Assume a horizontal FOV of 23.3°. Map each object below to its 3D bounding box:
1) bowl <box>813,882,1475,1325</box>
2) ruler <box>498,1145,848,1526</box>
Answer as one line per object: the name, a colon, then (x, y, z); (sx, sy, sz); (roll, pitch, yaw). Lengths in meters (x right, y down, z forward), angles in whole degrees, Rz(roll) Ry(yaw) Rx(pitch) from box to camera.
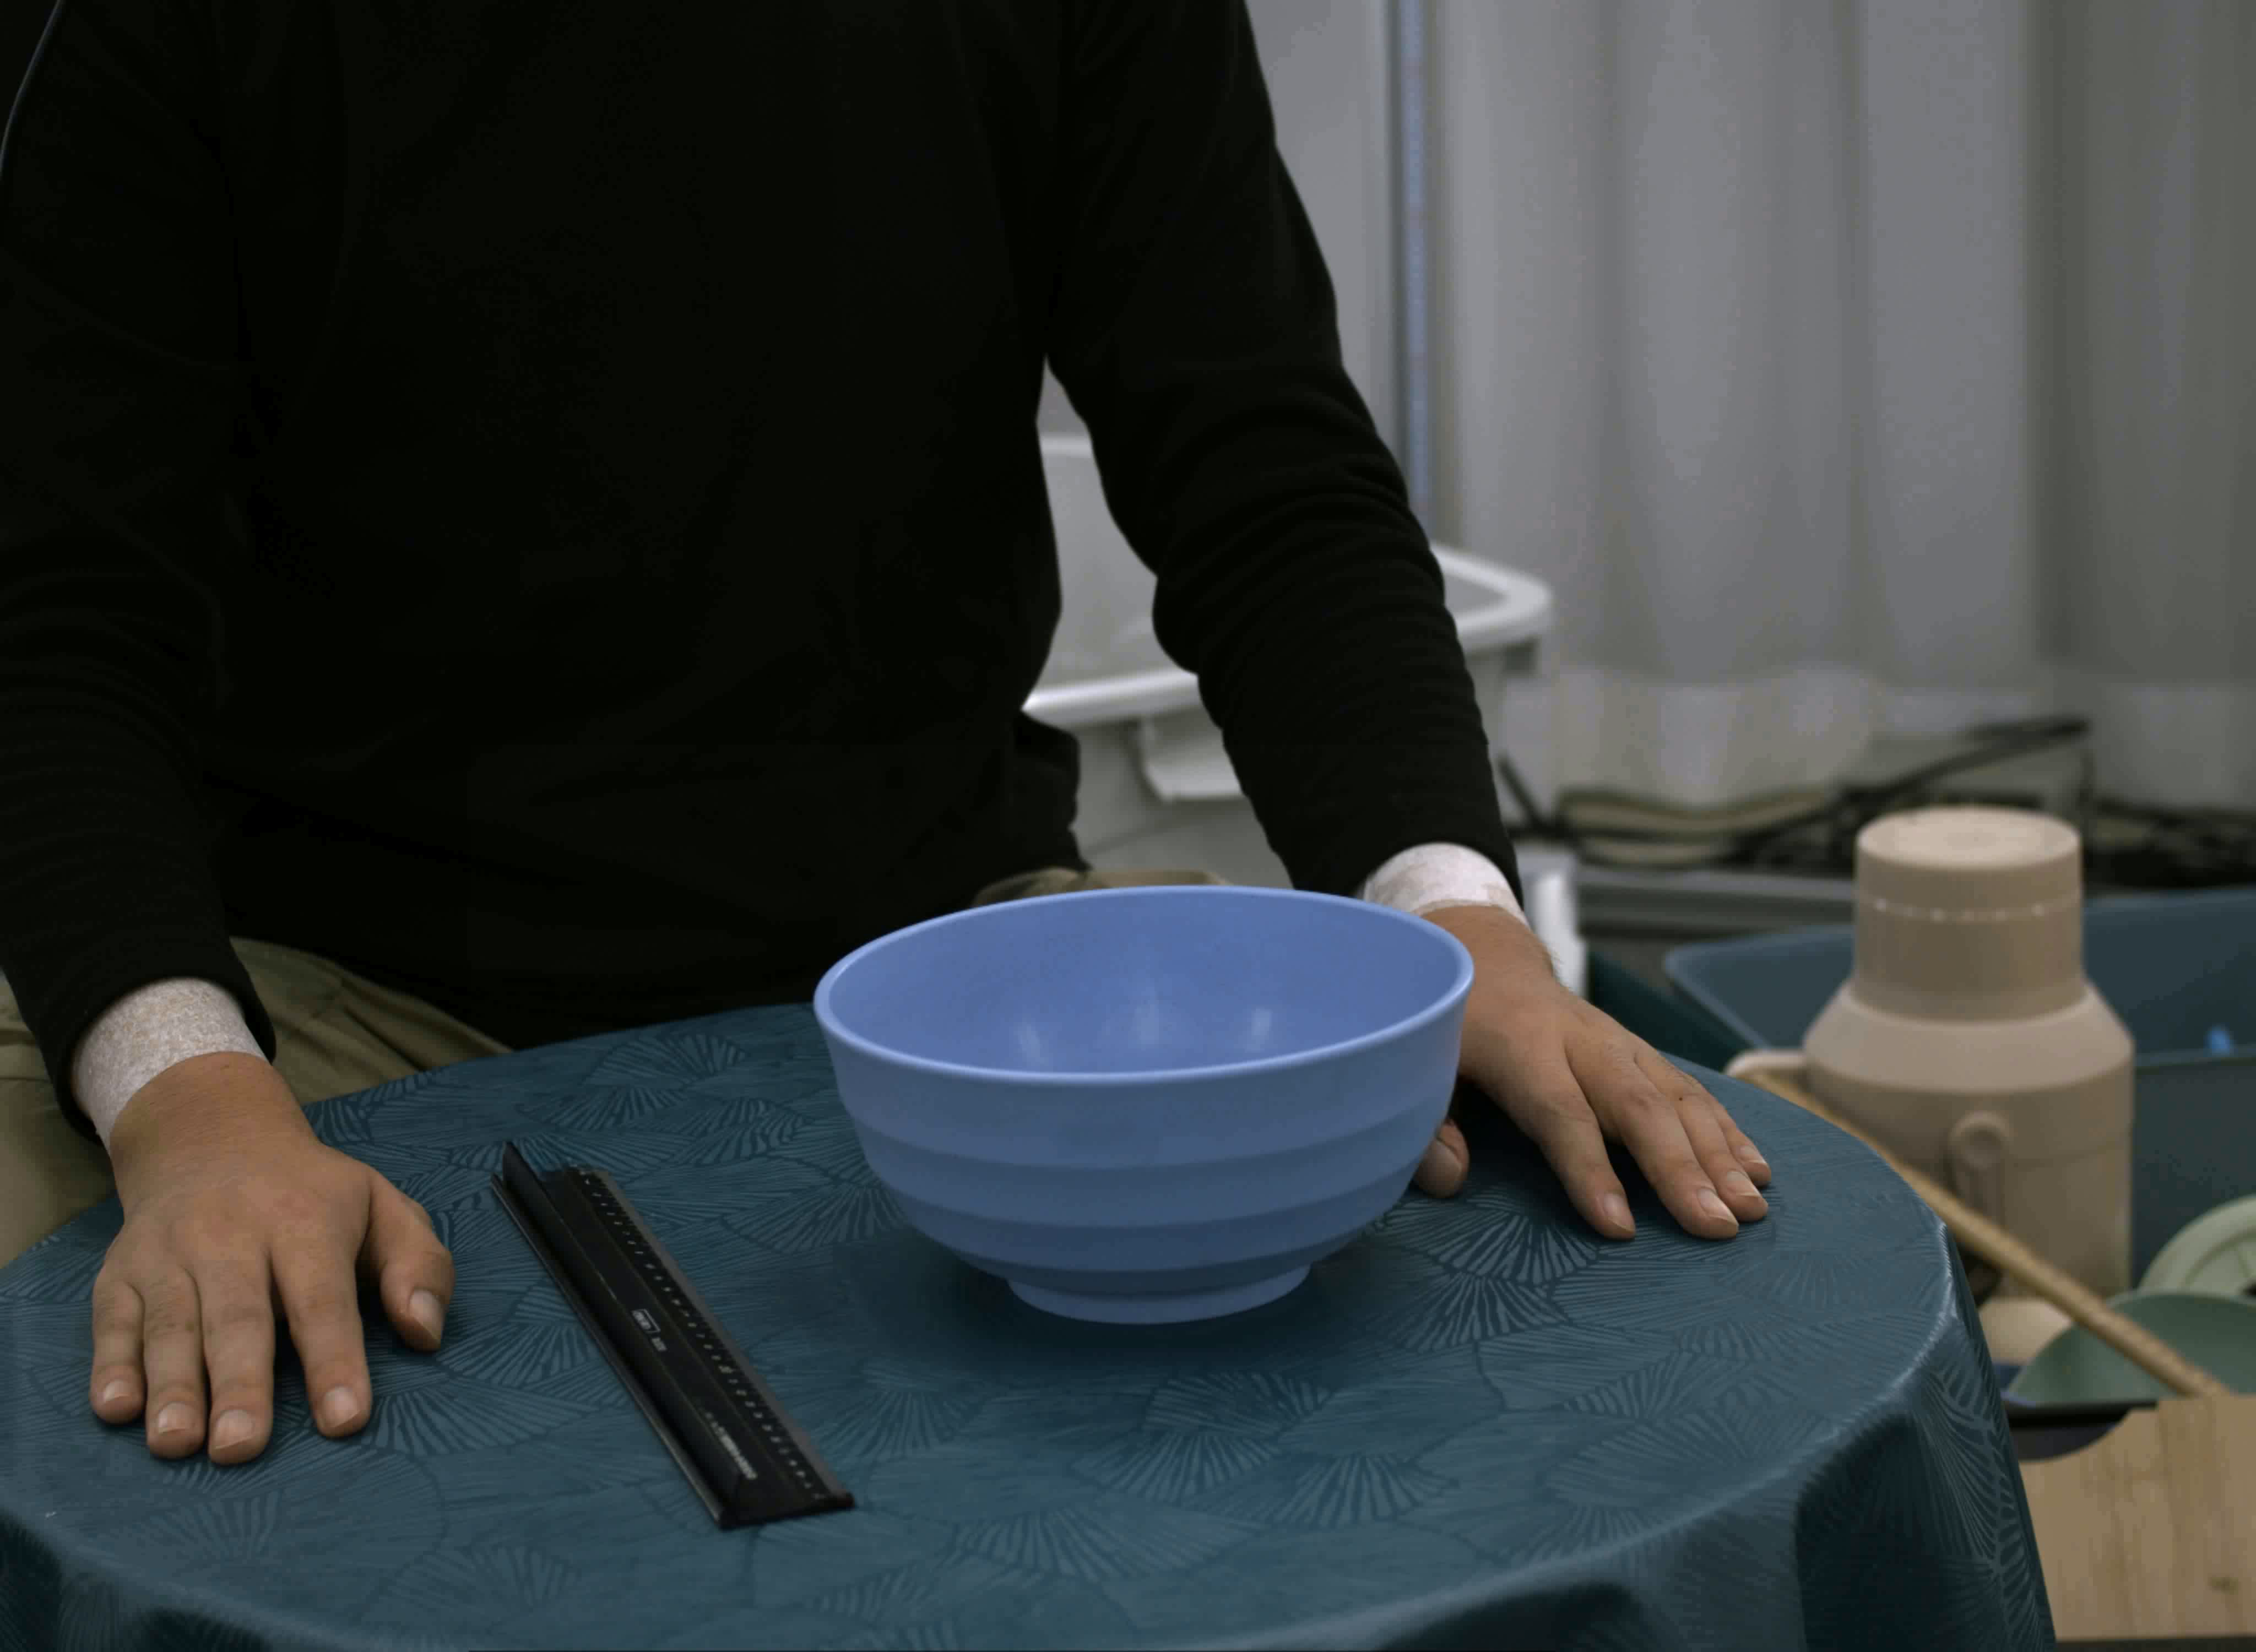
bowl: (0.006, 0.088, 1.627); (0.196, 0.095, 0.198); (-2, 15, 0)
ruler: (-0.137, 0.143, 1.605); (0.039, 0.017, 0.315); (-3, 14, -17)
